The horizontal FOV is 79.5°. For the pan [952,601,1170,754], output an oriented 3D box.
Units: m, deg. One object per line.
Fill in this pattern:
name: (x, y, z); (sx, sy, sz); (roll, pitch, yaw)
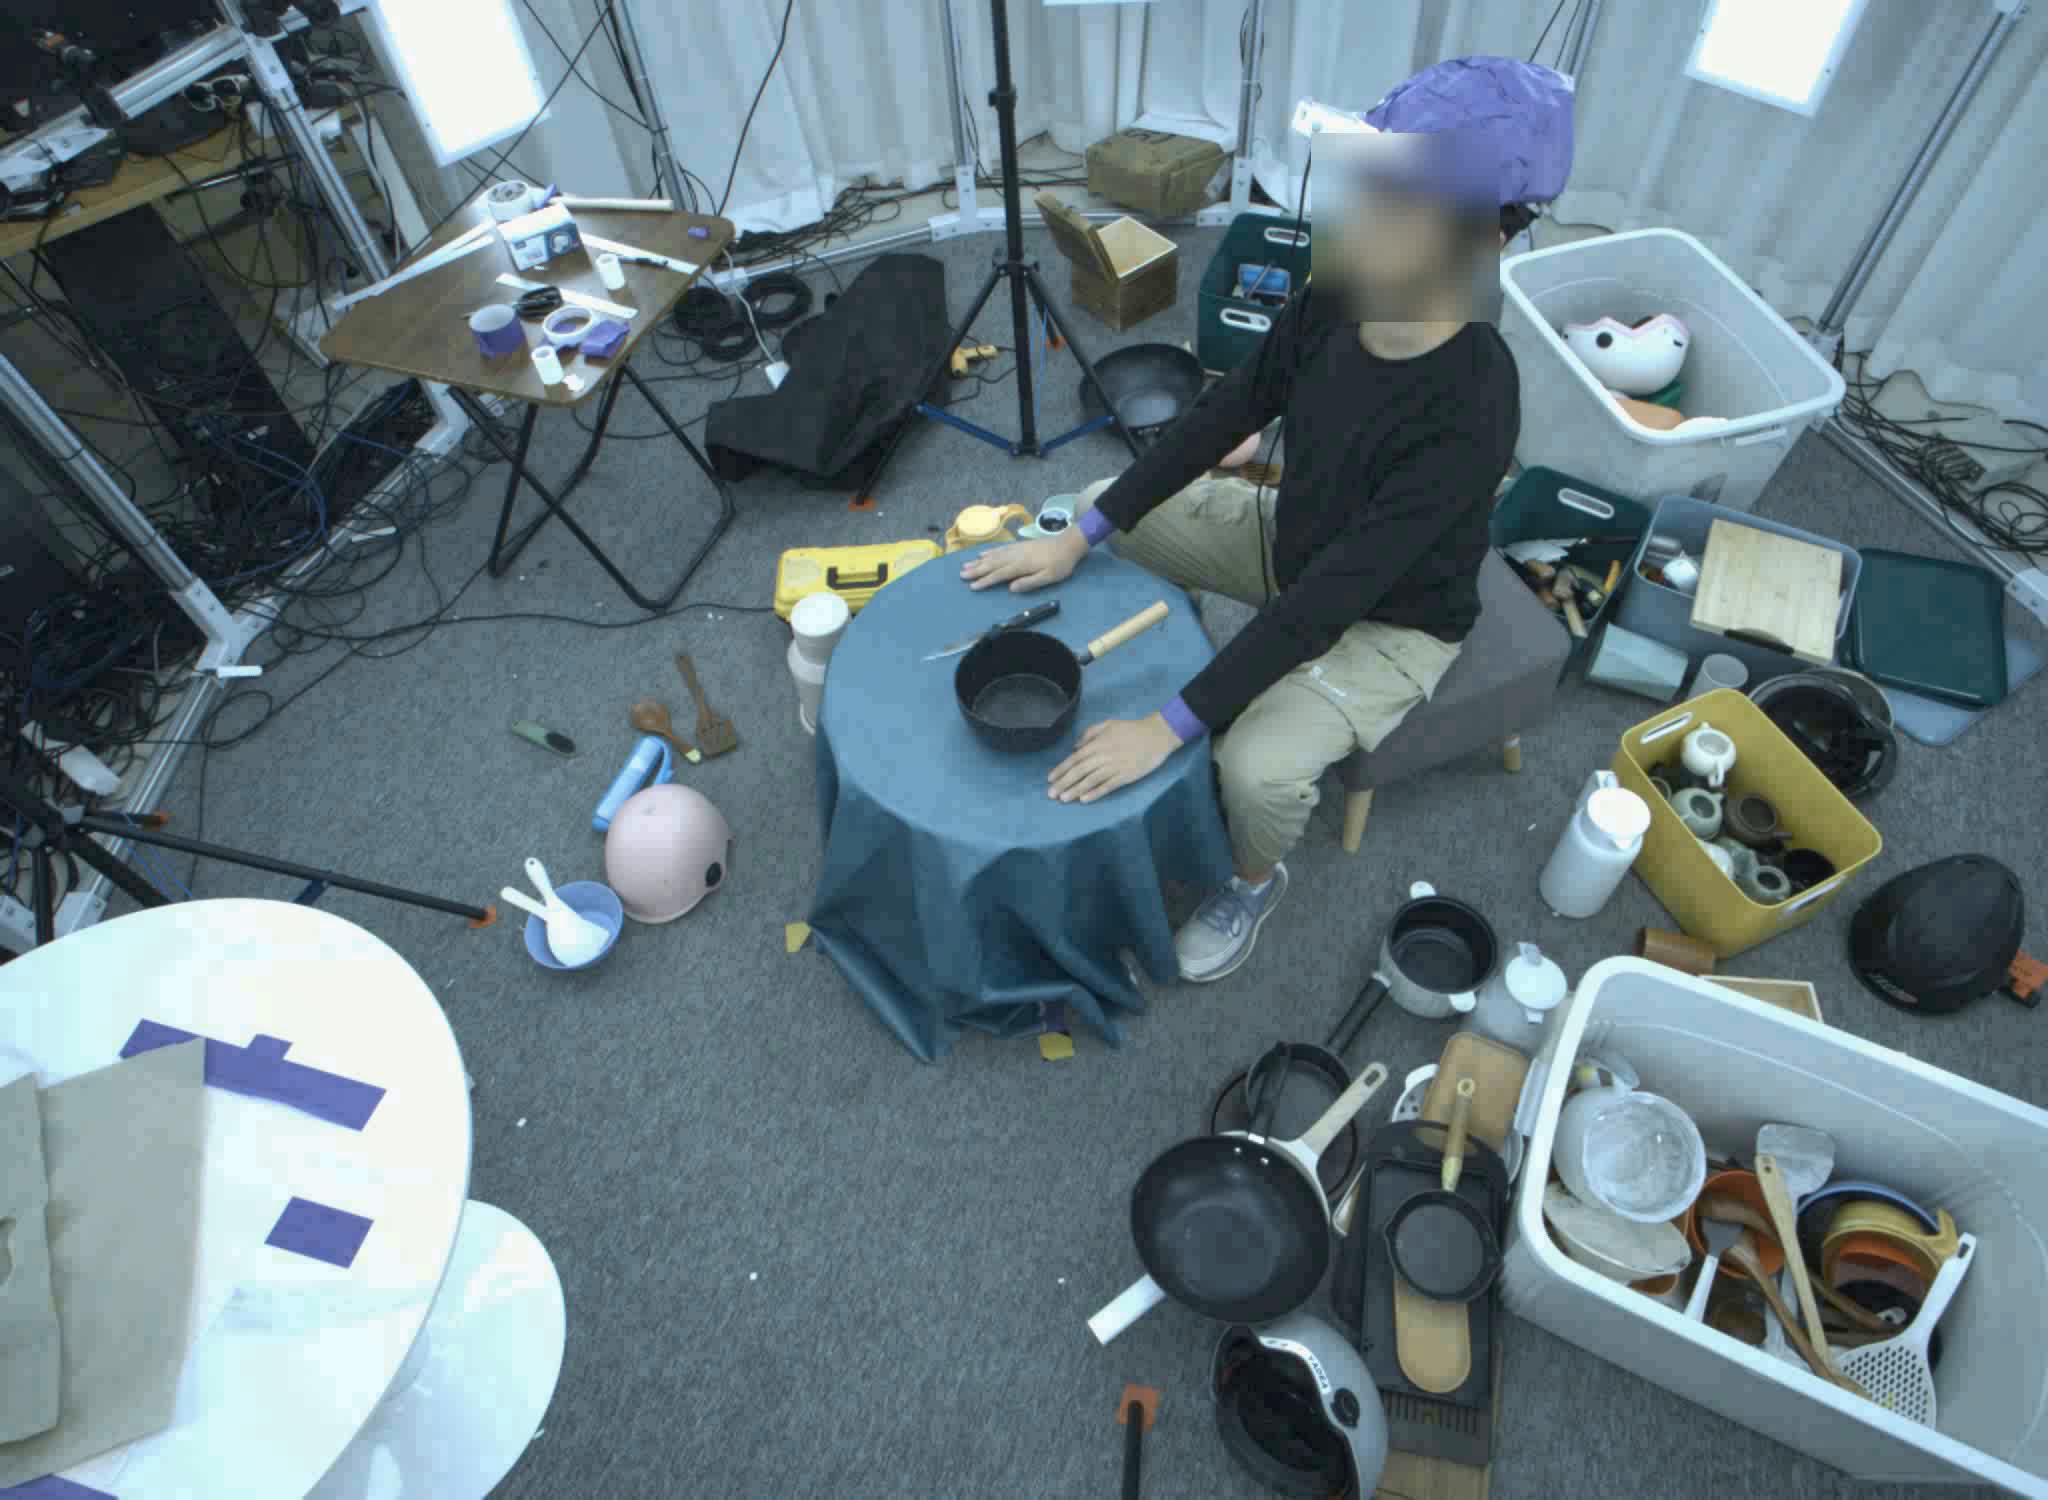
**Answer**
pan: (0.061, -0.118, 1.801); (0.345, 0.109, 0.203); (-25, 57, -14)

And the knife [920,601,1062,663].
knife: (-0.053, -0.183, 1.909); (0.239, 0.016, 0.024); (-23, 57, -11)
